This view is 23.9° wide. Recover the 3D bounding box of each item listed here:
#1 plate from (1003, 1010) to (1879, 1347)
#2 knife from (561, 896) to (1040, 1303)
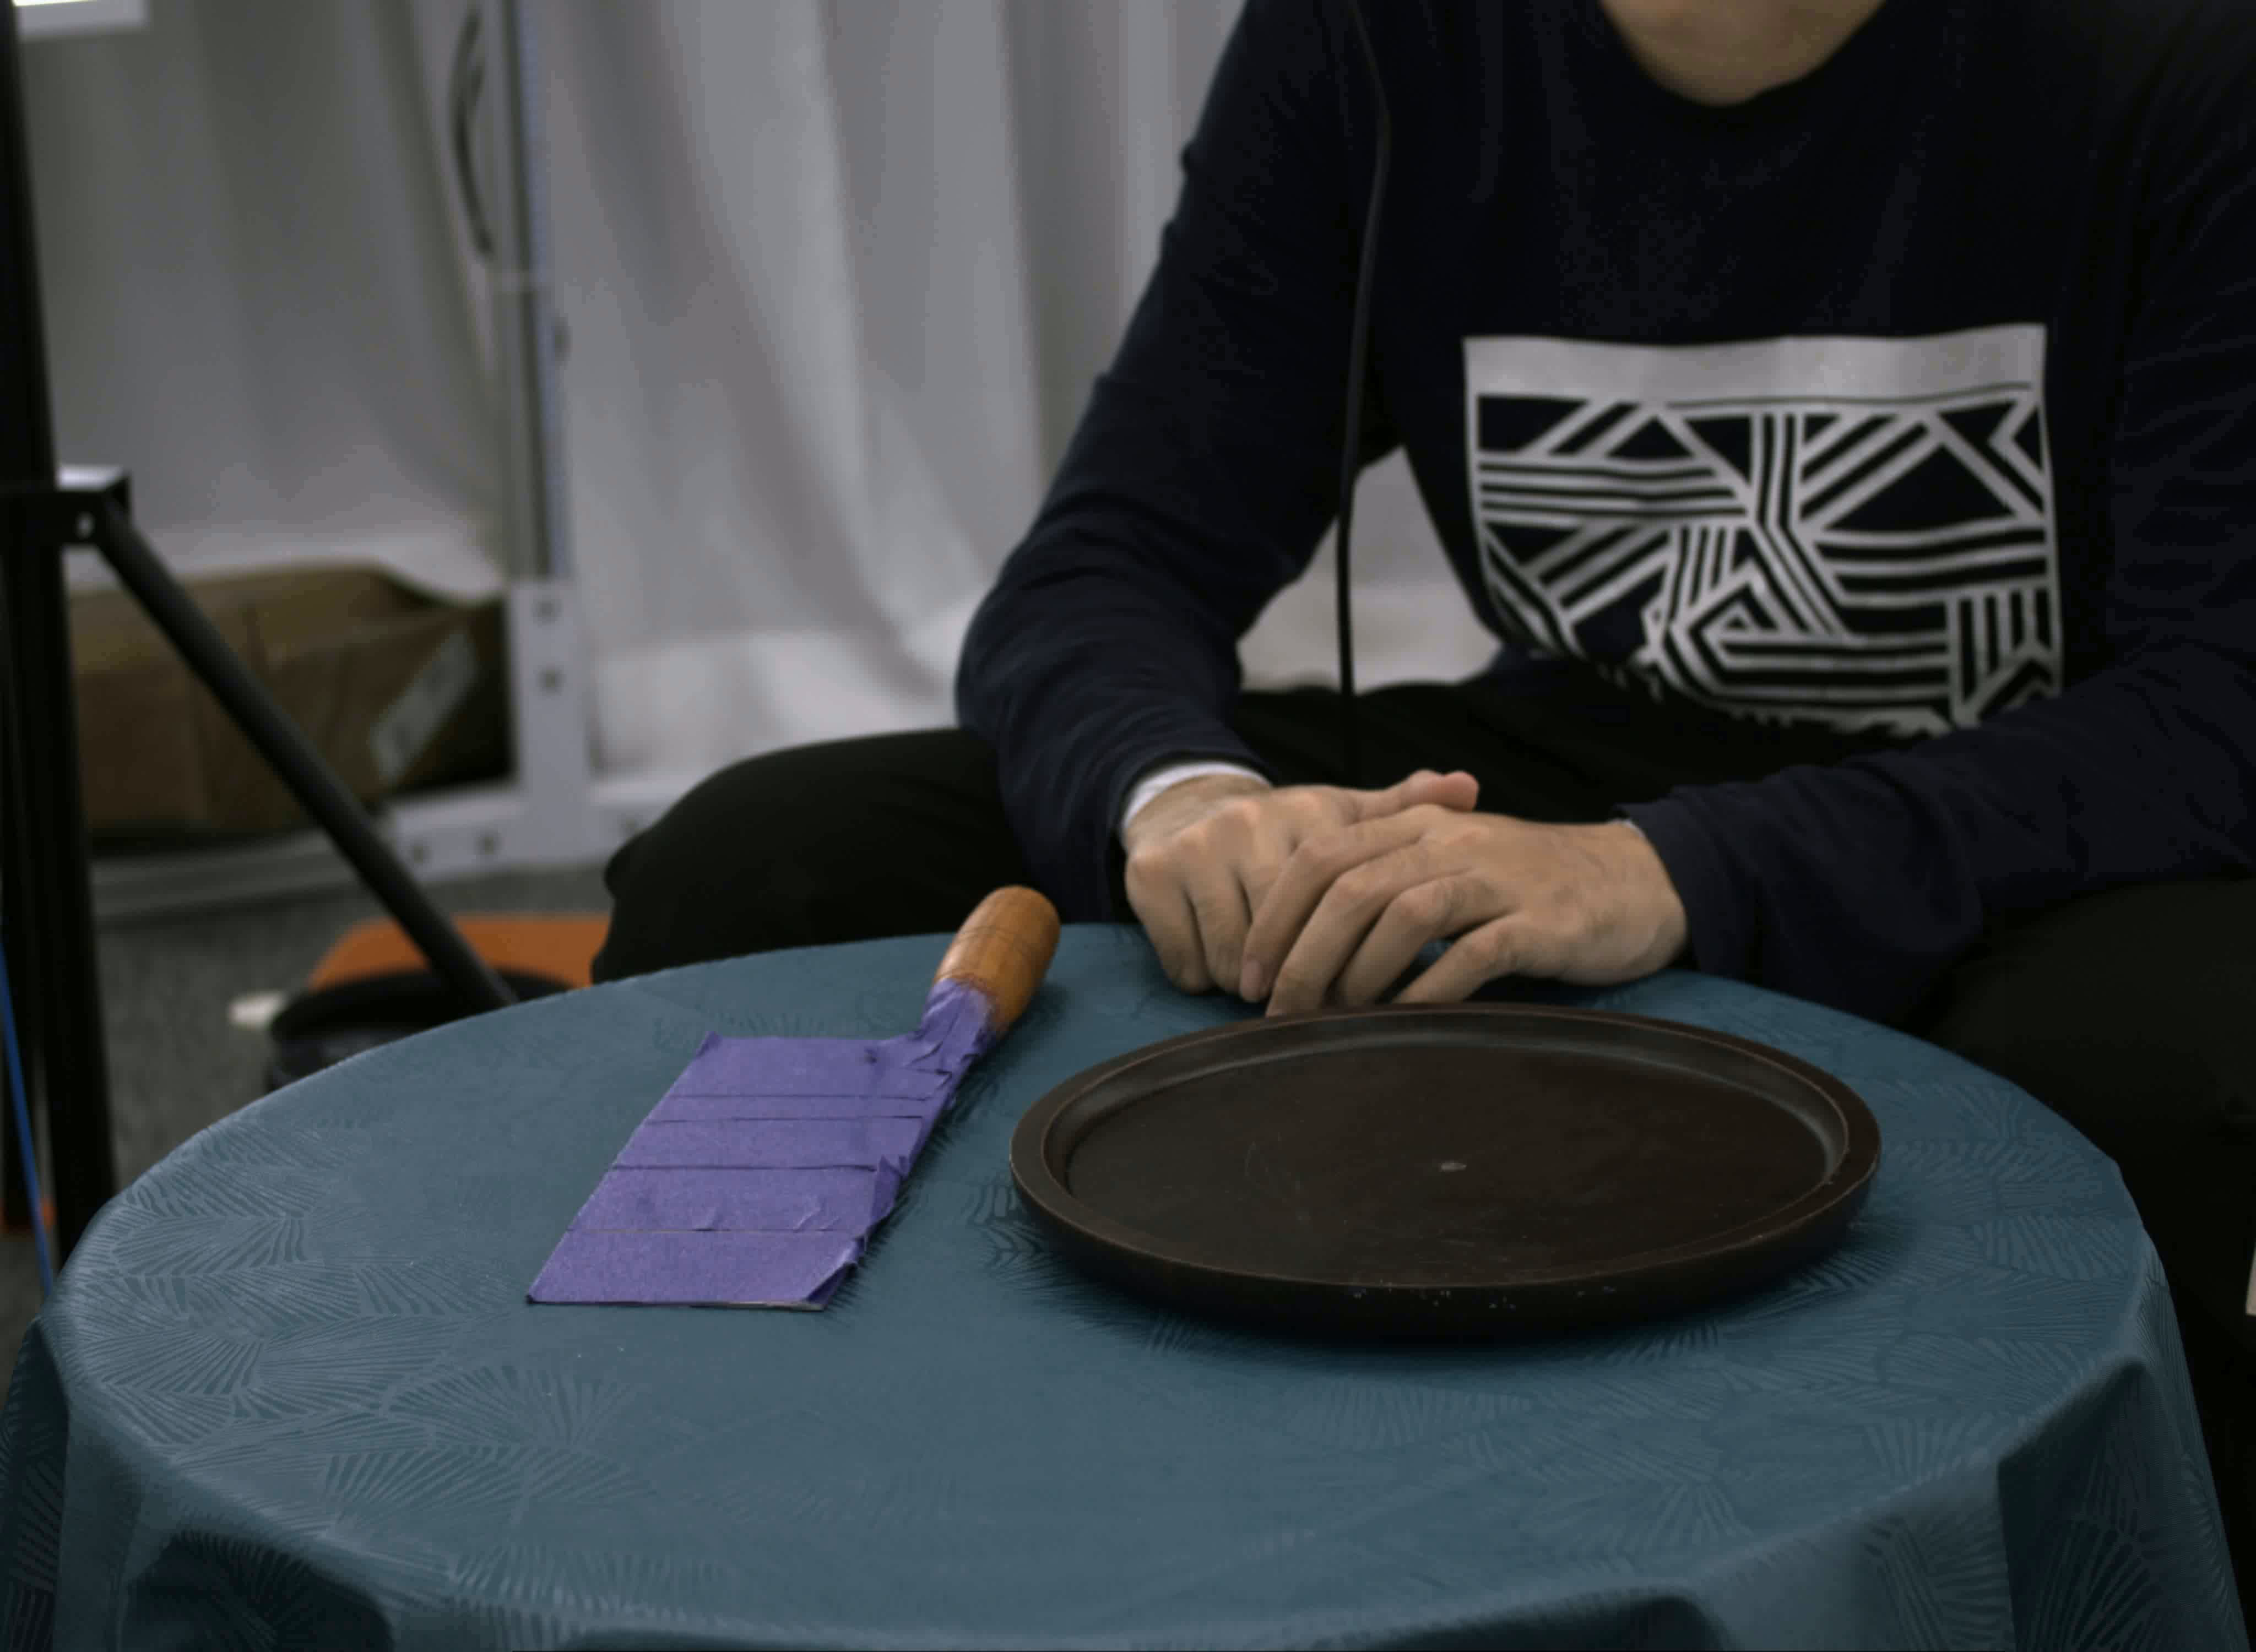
[{"bbox_3d":[0.090,0.099,1.536,0.253,0.029,0.256,-3,17,-1],"label":"plate"},{"bbox_3d":[-0.097,0.080,1.627,0.104,0.032,0.314,1,16,10],"label":"knife"}]
